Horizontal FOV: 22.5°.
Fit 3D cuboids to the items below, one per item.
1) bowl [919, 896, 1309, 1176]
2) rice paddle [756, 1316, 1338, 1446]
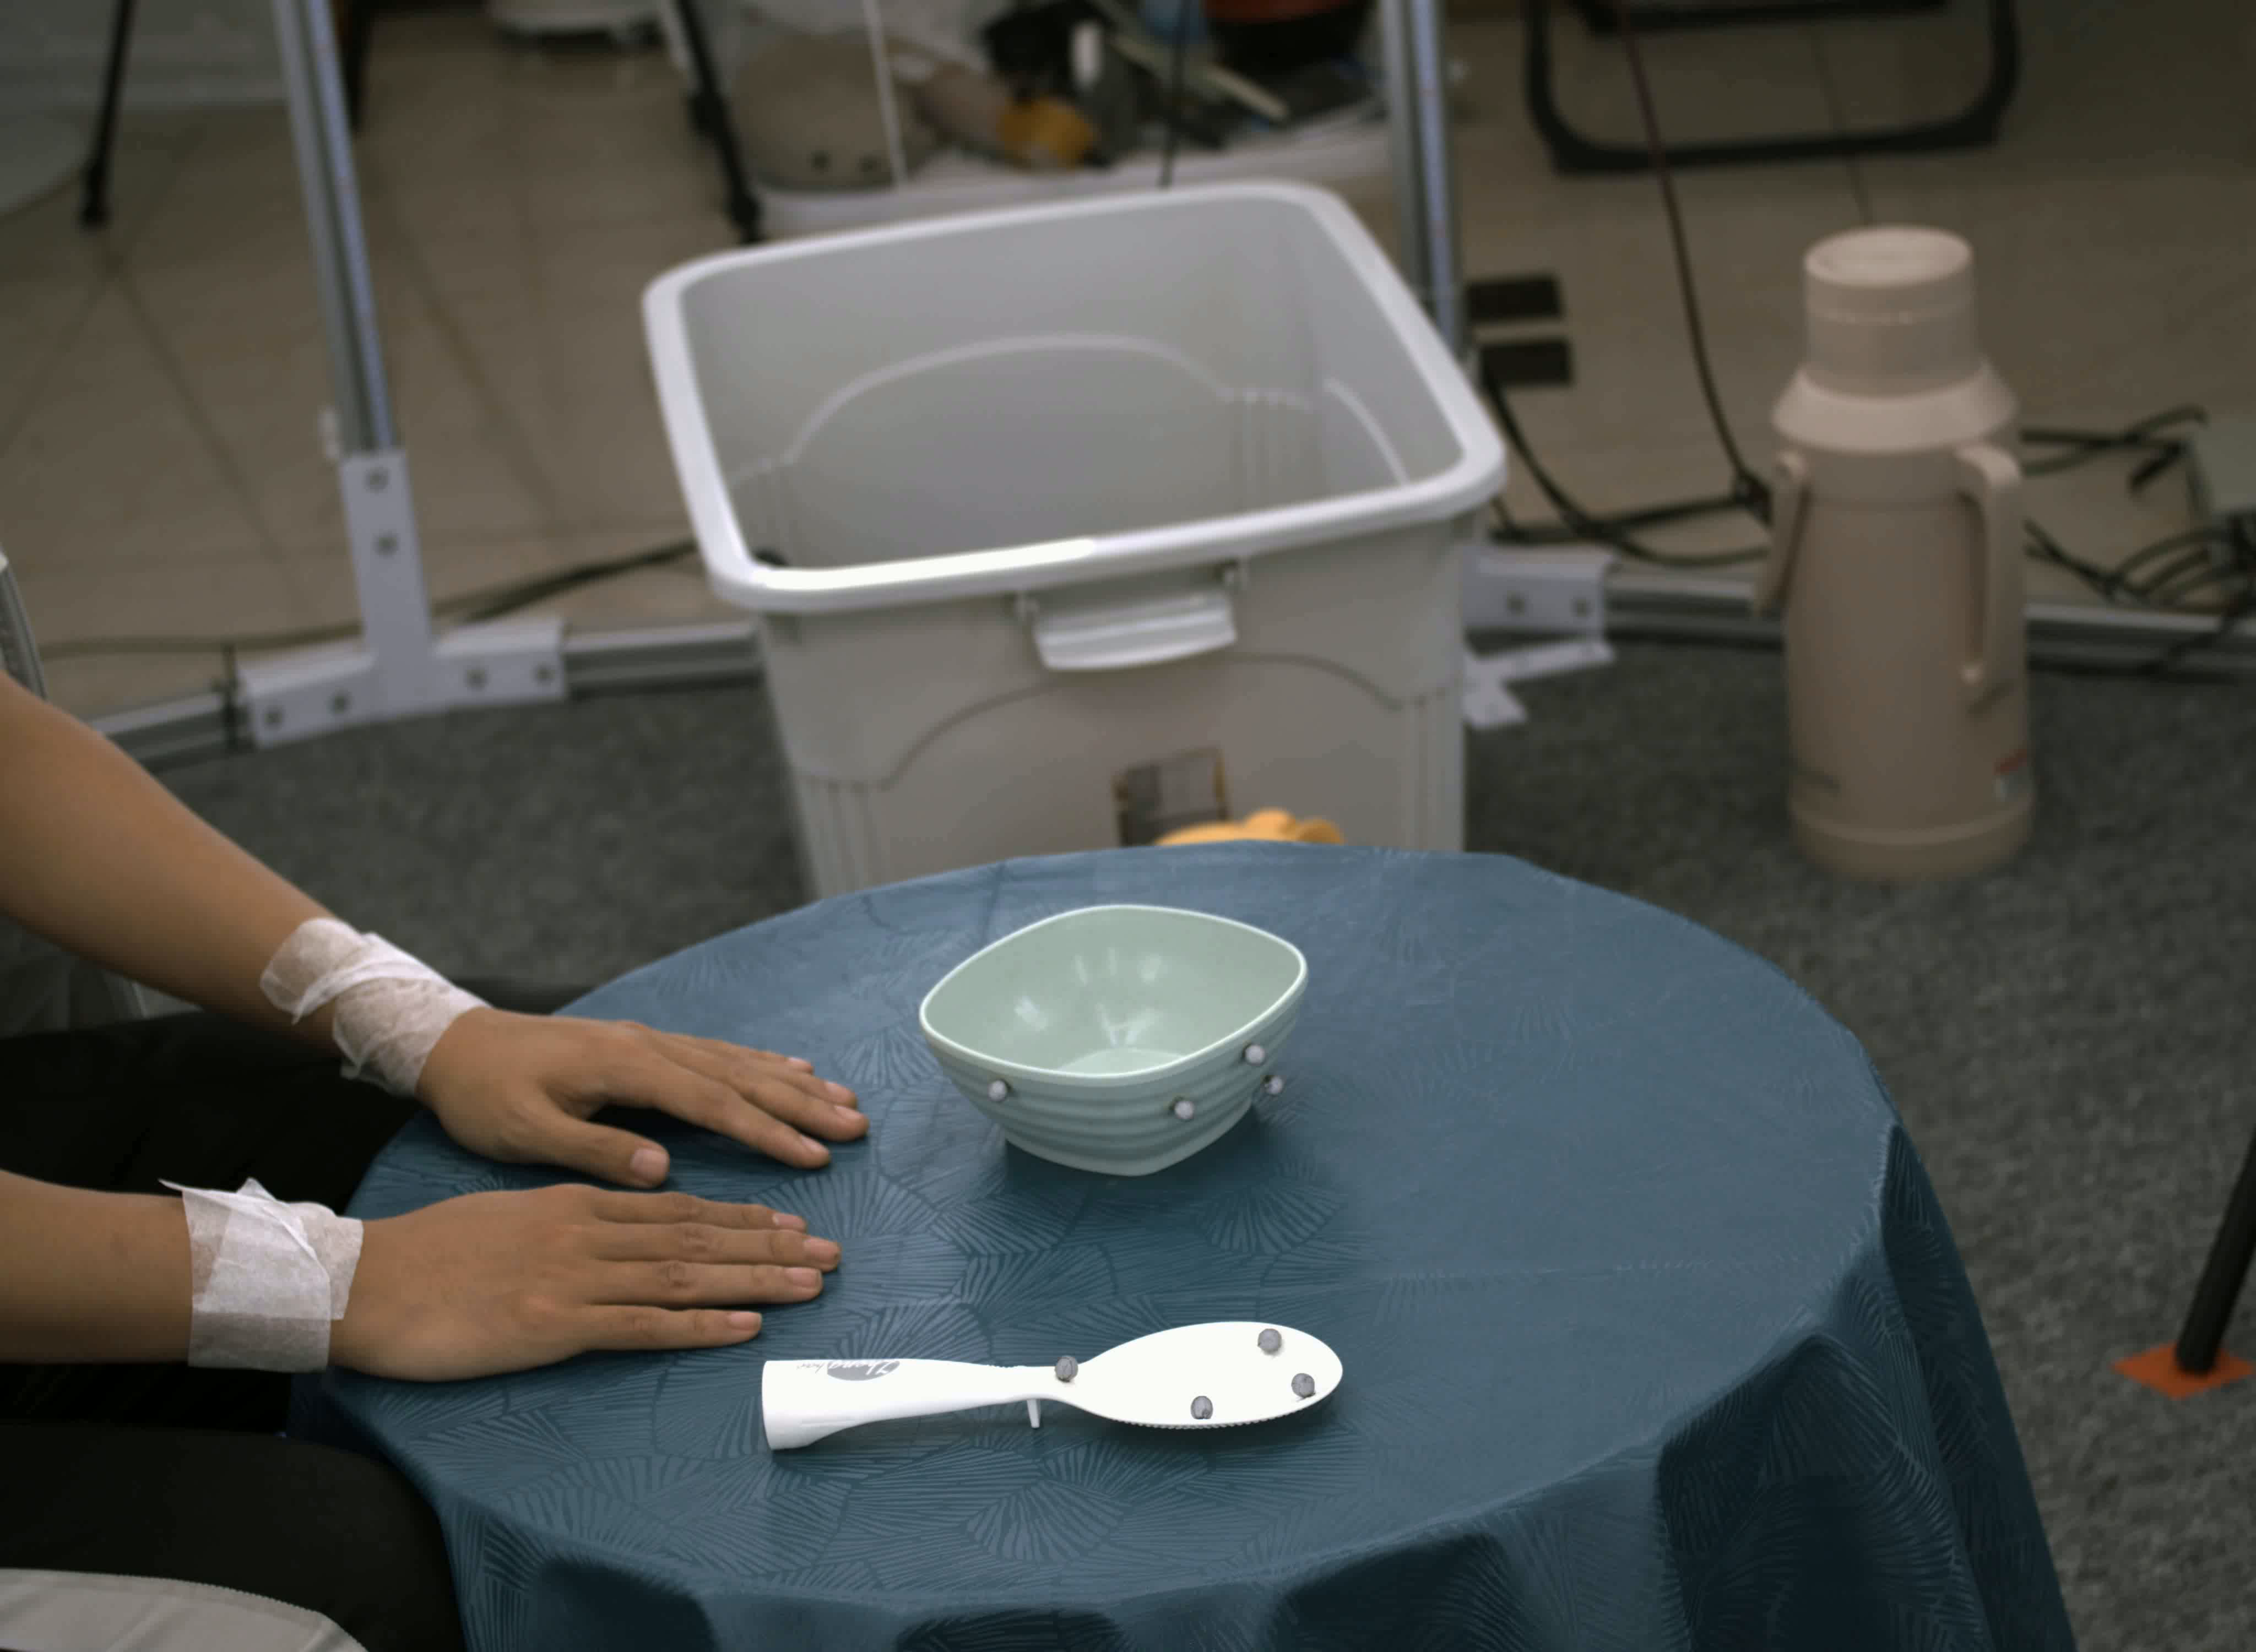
[{"bbox_3d":[-0.004,0.087,2.194,0.151,0.059,0.149,-4,27,2],"label":"bowl"},{"bbox_3d":[-0.028,0.195,2.001,0.205,0.030,0.068,-4,26,4],"label":"rice paddle"}]
